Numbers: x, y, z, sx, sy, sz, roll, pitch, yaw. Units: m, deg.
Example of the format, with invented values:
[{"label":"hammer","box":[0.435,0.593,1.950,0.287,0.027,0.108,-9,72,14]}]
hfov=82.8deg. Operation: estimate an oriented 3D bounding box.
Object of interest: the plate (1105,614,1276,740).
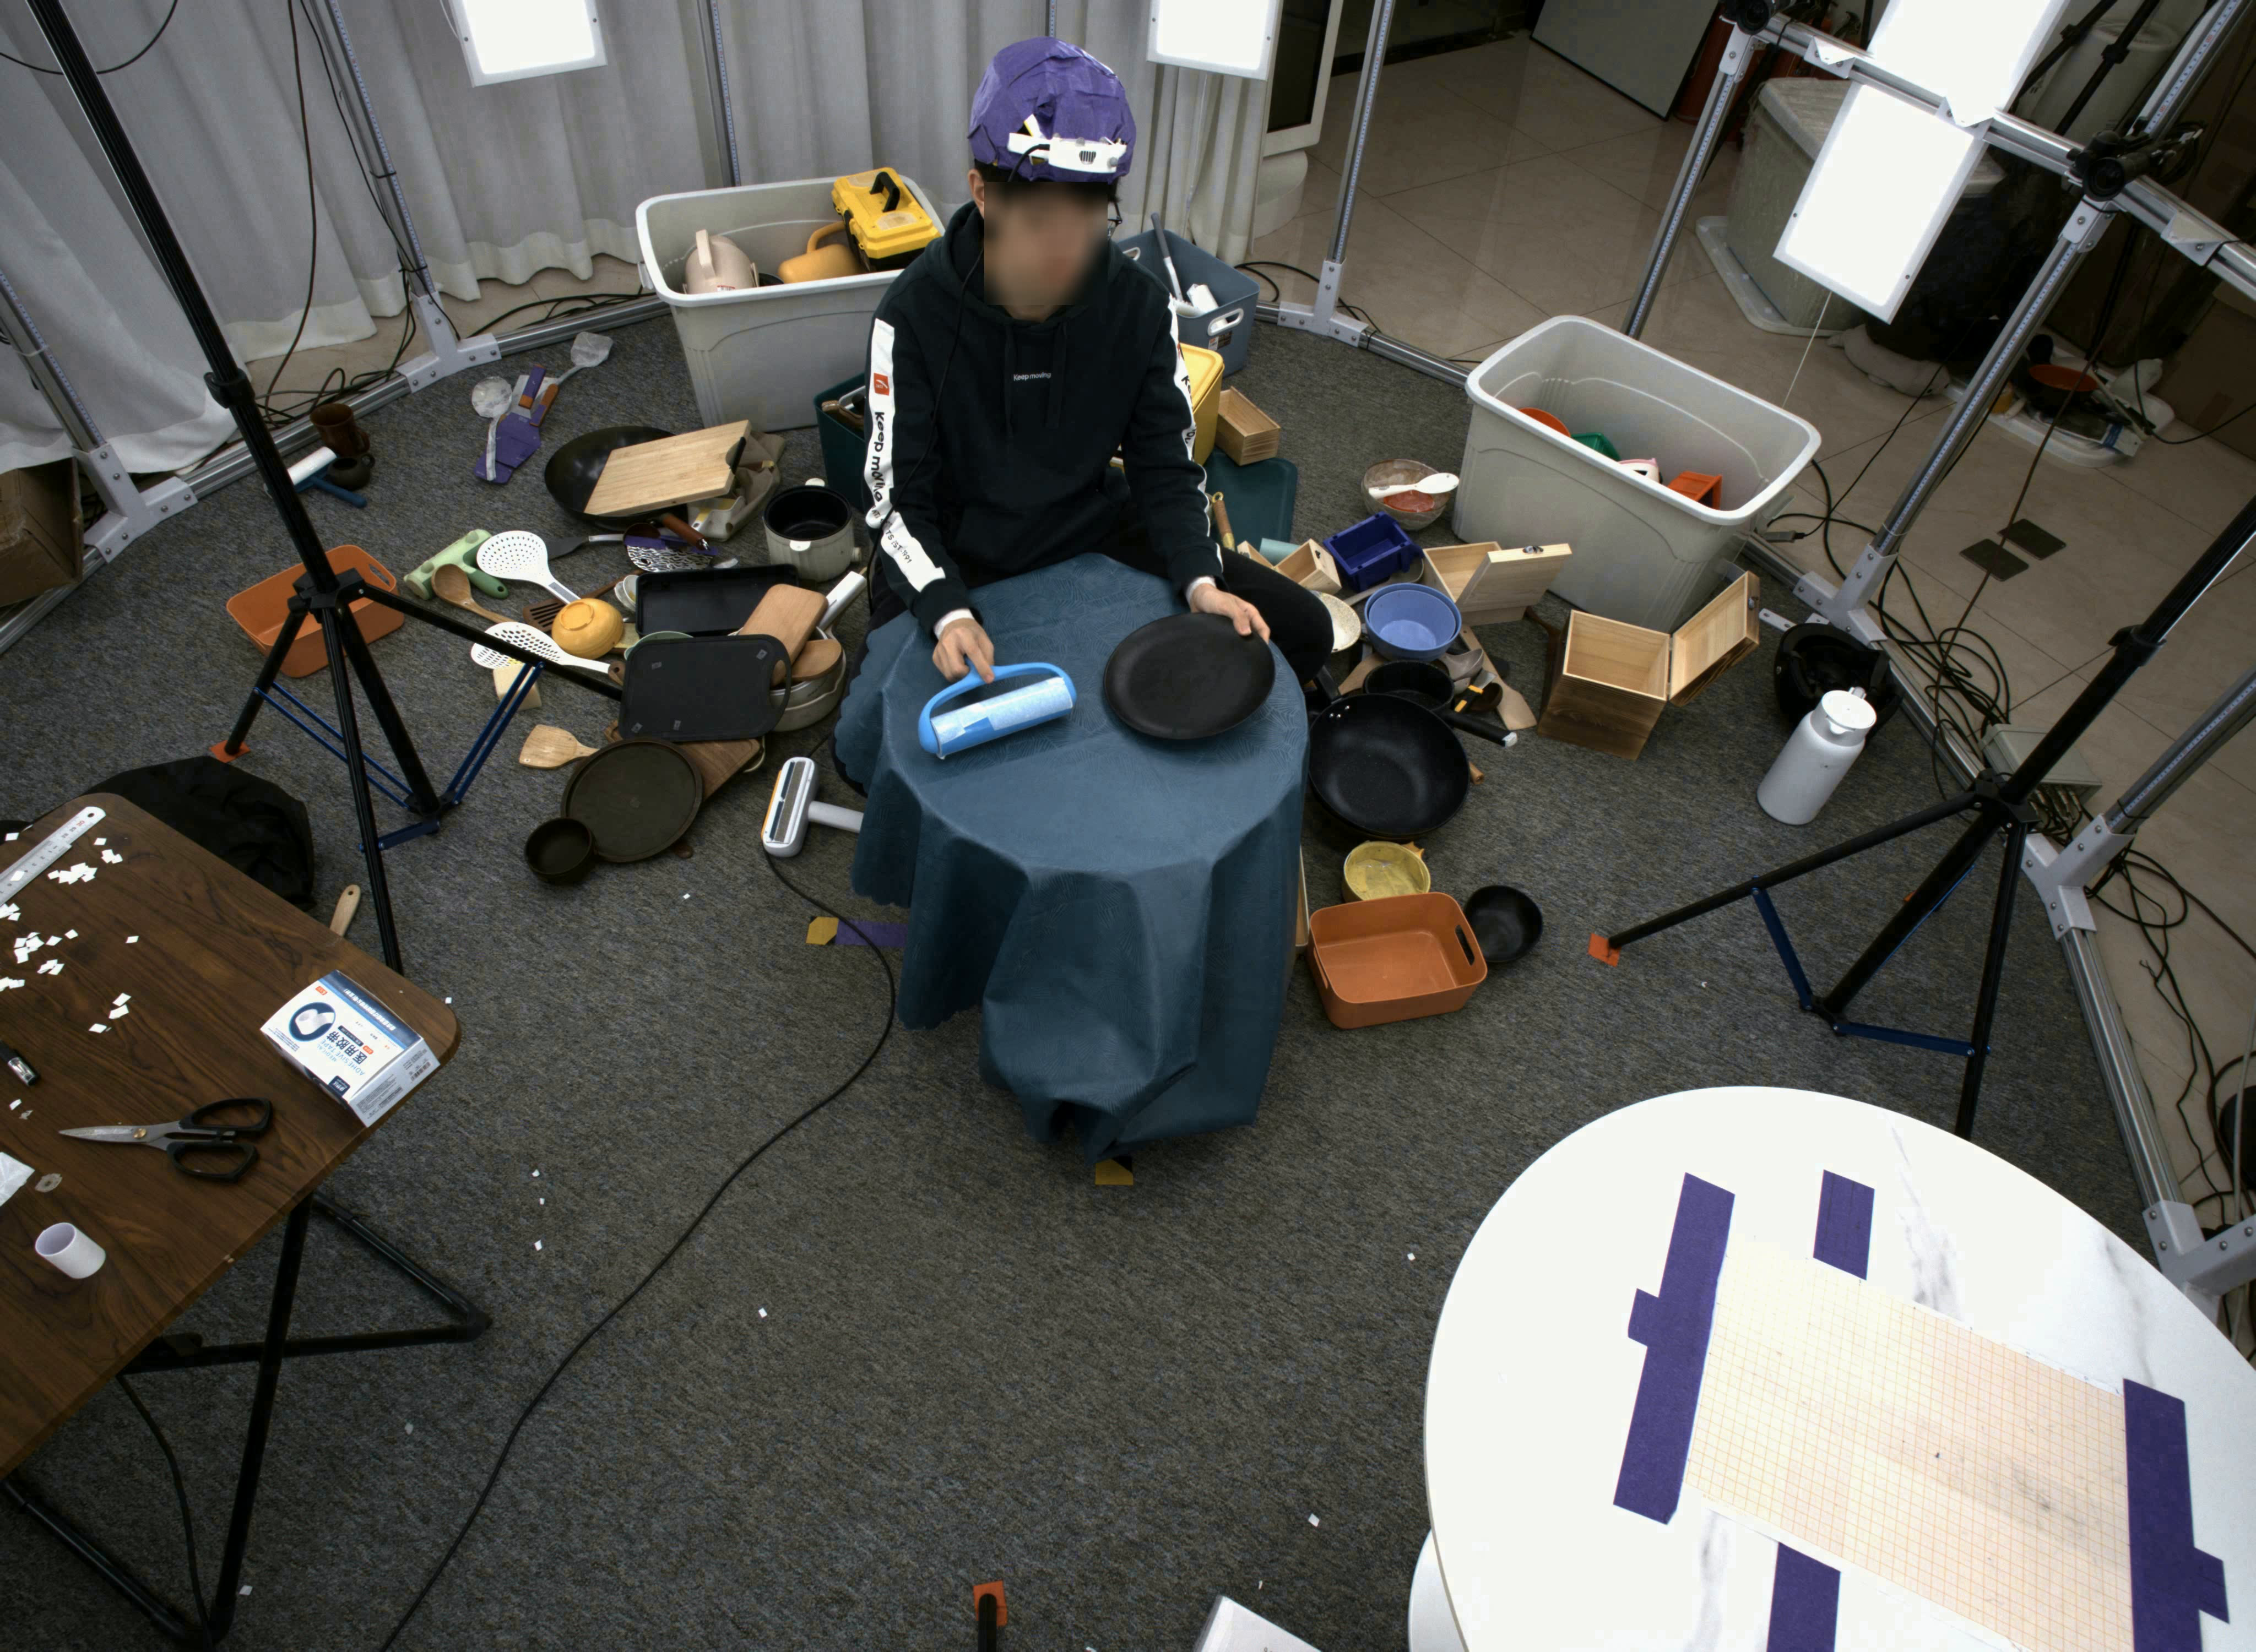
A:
[{"label":"plate","box":[0.088,-0.209,1.818,0.244,0.023,0.250,-5,51,6]}]

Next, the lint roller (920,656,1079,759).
[{"label":"lint roller","box":[-0.201,-0.189,1.770,0.229,0.066,0.184,-24,55,-20]}]
